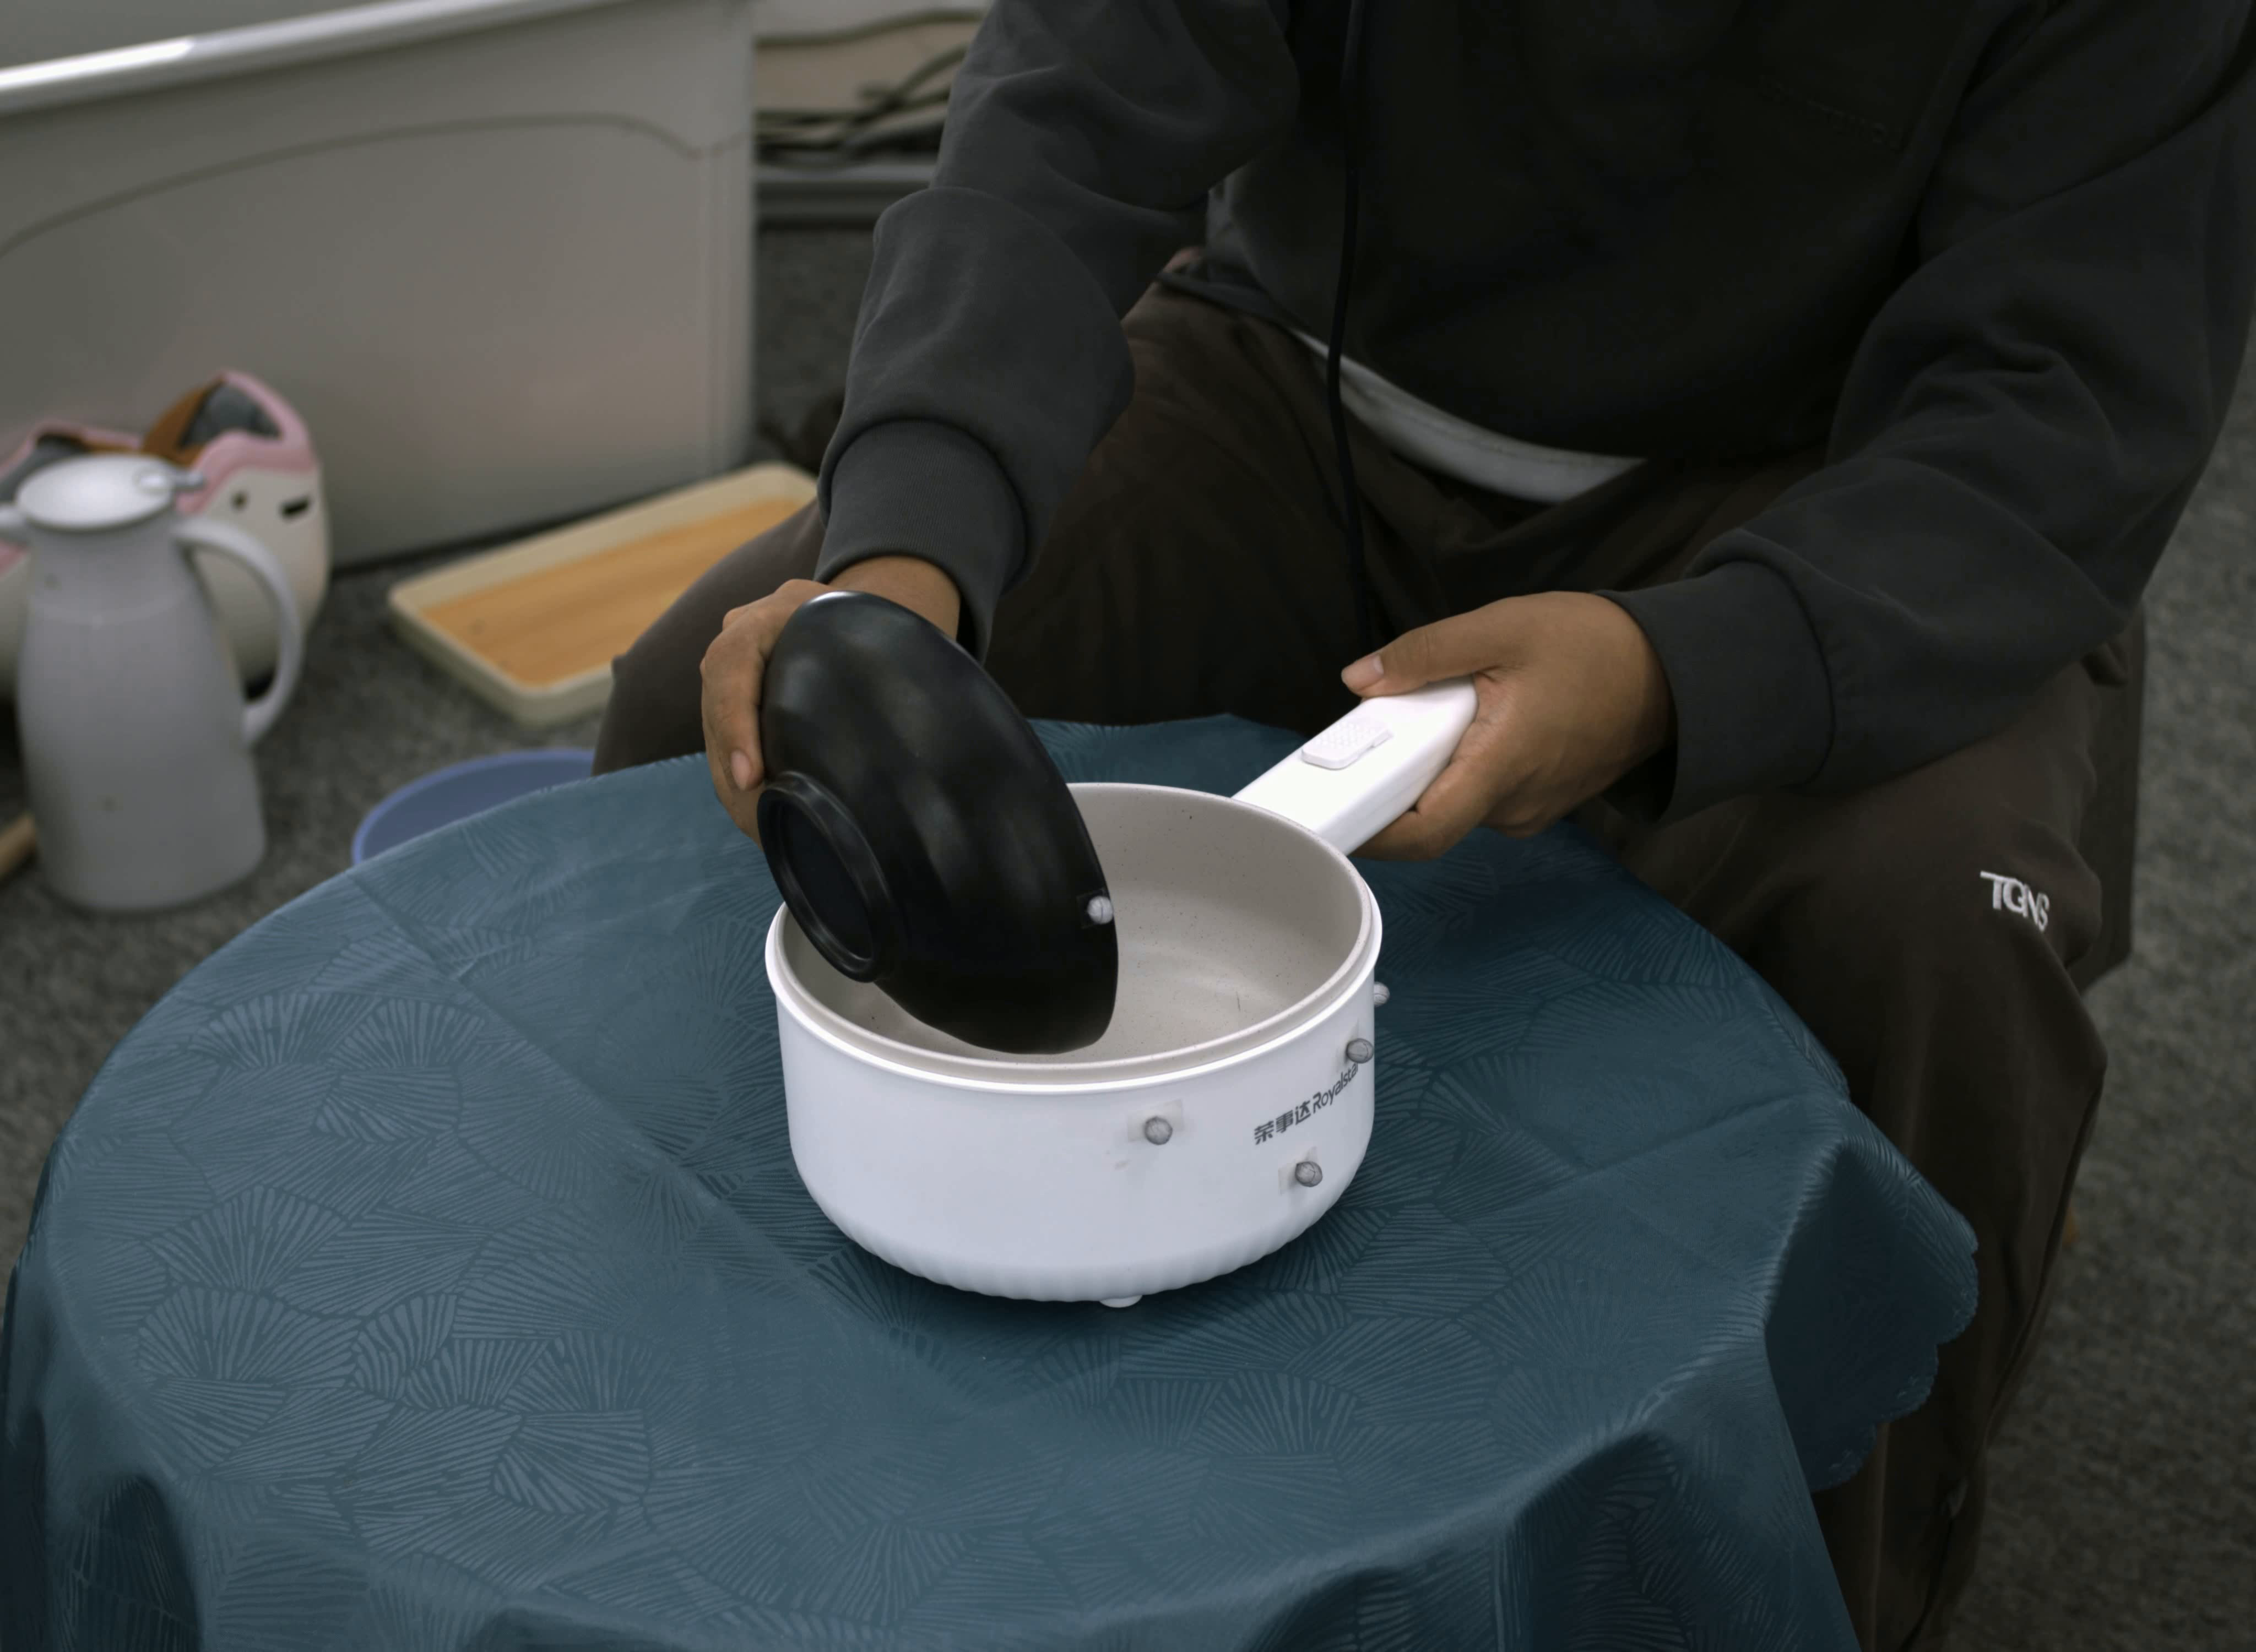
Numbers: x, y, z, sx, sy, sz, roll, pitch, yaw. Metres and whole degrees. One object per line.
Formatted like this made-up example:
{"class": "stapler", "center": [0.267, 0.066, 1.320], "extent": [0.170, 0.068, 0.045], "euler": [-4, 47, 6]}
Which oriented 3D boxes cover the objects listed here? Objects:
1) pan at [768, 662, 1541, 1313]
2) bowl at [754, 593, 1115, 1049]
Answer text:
{"class": "pan", "center": [0.029, 0.050, 1.906], "extent": [0.200, 0.101, 0.360], "euler": [14, 29, 33]}
{"class": "bowl", "center": [-0.073, 0.006, 1.790], "extent": [0.067, 0.171, 0.135], "euler": [-29, -10, -24]}
